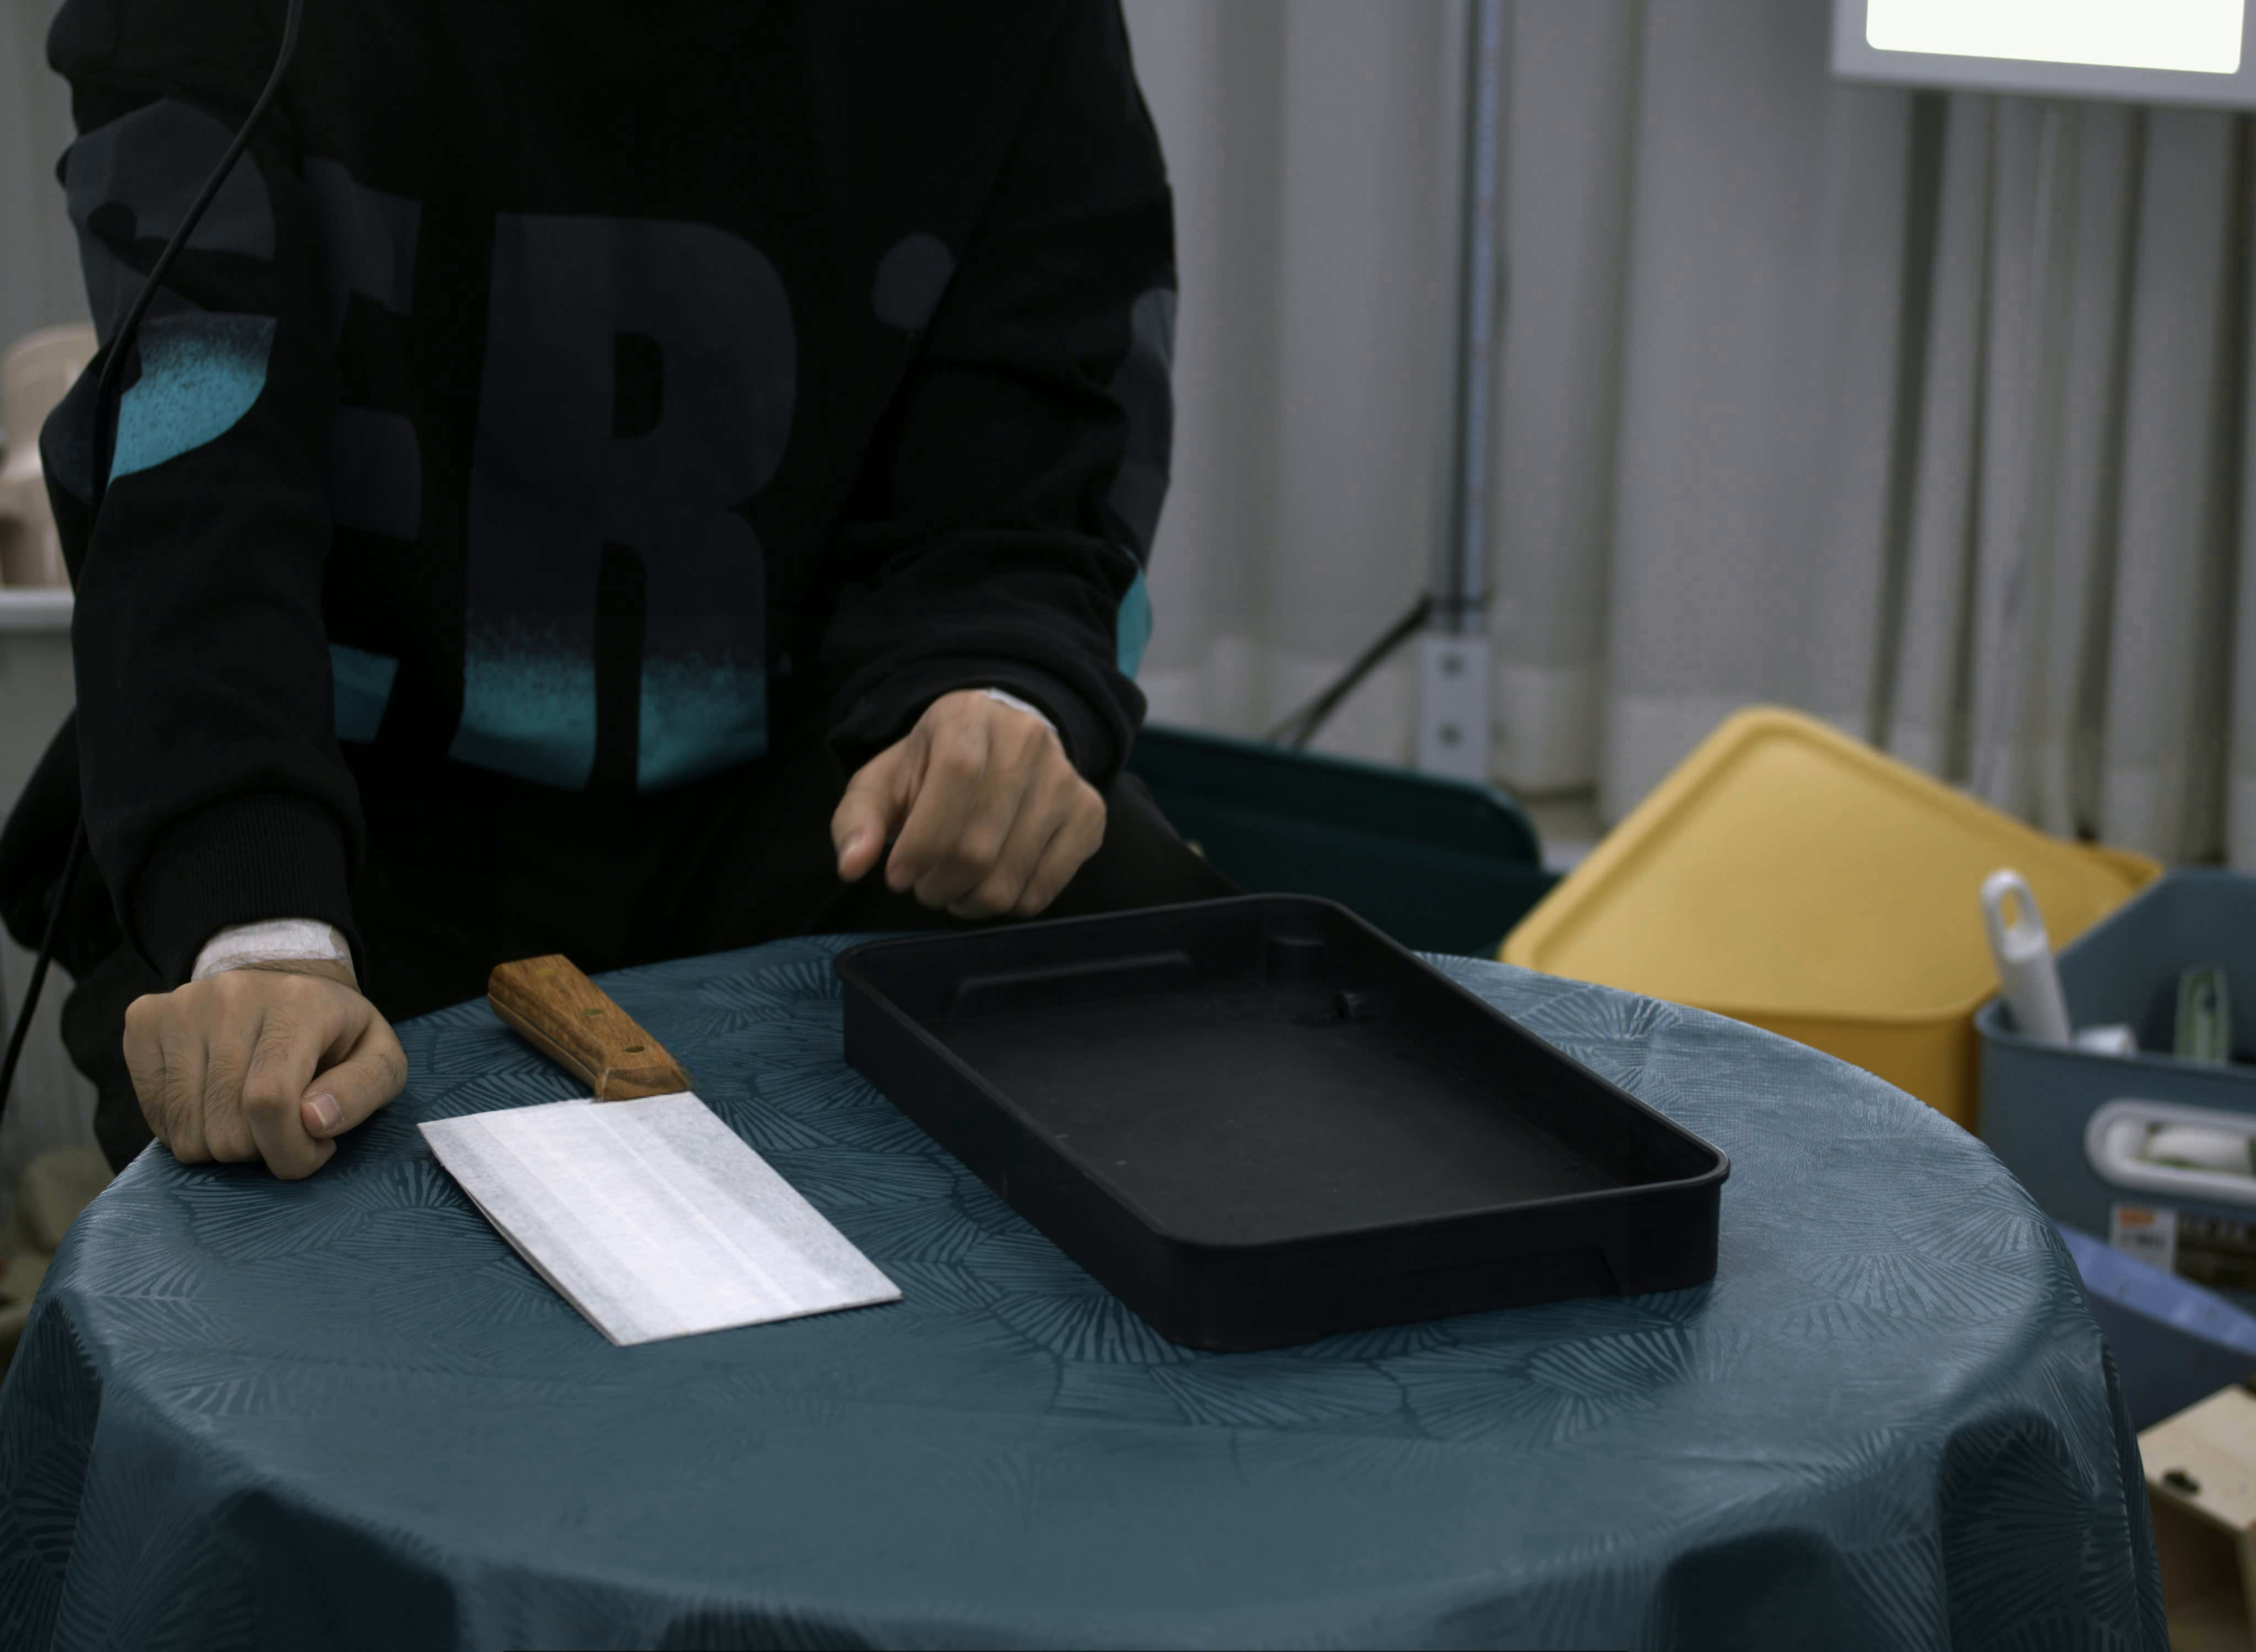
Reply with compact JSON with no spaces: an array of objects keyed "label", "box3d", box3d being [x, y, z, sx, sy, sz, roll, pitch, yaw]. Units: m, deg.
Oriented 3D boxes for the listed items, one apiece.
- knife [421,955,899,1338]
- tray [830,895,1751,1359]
[{"label":"knife","box3d":[-0.166,0.099,1.639,0.093,0.021,0.302,-8,20,-23]},{"label":"tray","box3d":[0.043,0.088,1.644,0.185,0.037,0.314,-7,17,-23]}]
